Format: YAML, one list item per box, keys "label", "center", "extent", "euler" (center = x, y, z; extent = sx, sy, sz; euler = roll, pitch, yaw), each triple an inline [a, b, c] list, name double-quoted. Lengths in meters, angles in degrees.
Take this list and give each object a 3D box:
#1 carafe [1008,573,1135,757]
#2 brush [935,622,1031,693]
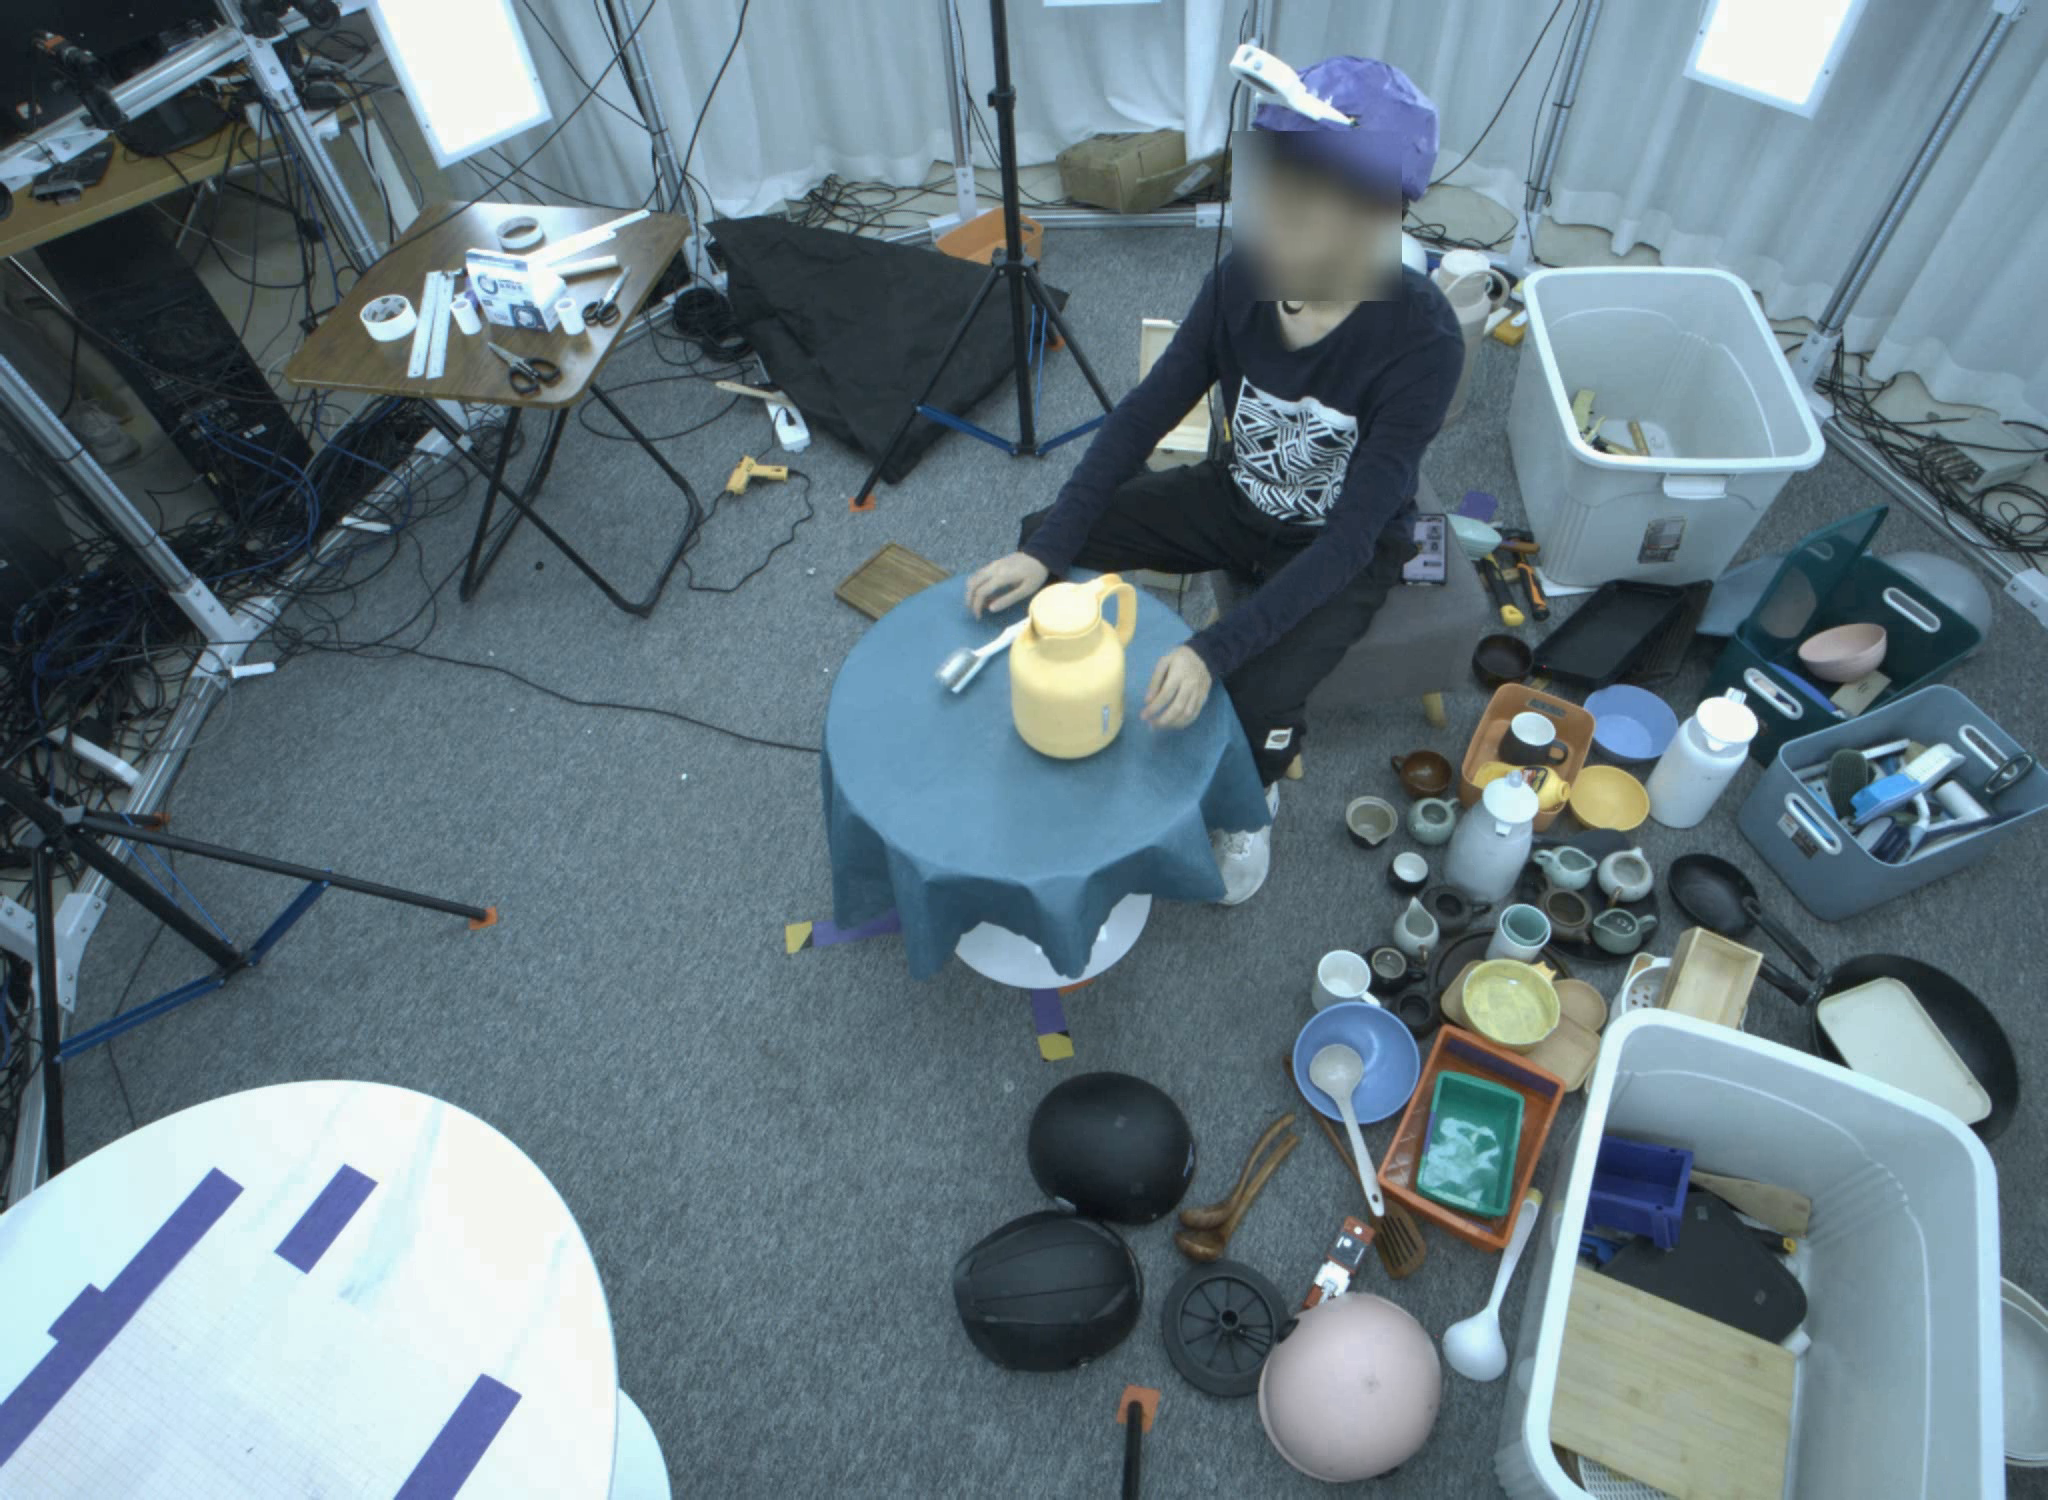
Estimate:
- label: "carafe"
  center: [0.074, -0.126, 1.706]
  extent: [0.204, 0.263, 0.160]
  euler: [-37, 63, -20]
- label: "brush"
  center: [-0.035, -0.168, 1.871]
  extent: [0.245, 0.051, 0.033]
  euler: [-37, 55, -21]
